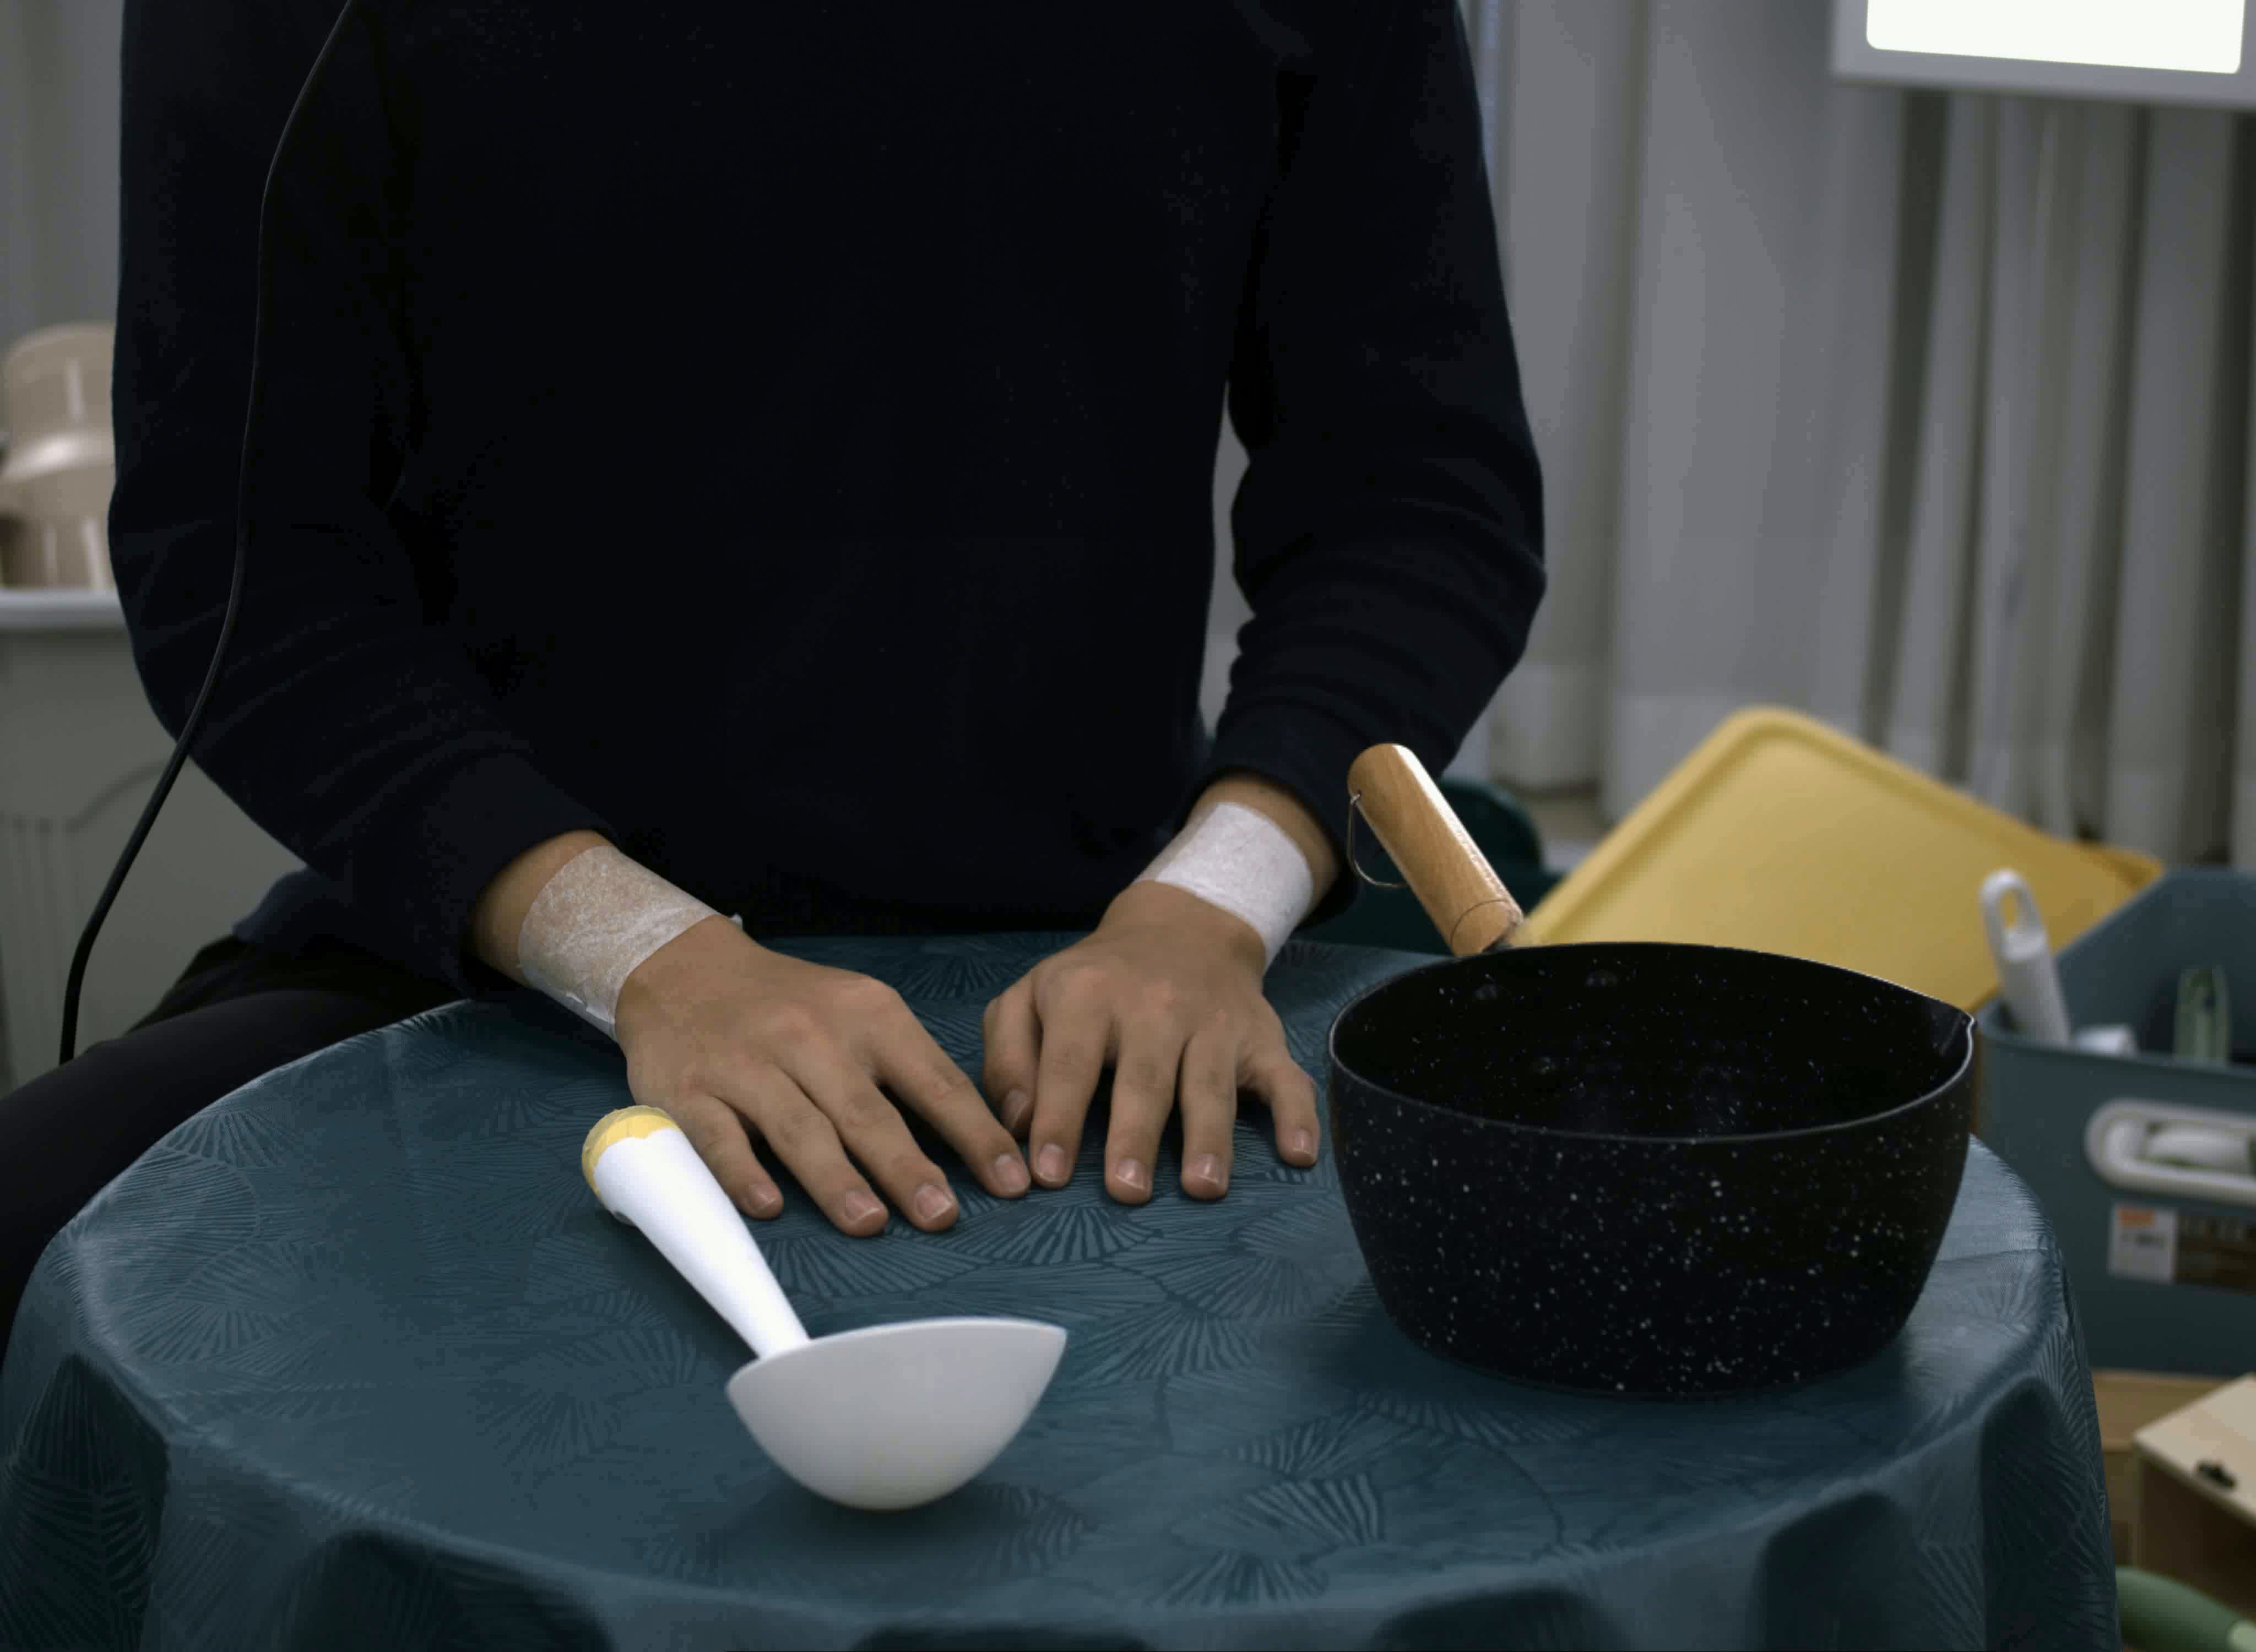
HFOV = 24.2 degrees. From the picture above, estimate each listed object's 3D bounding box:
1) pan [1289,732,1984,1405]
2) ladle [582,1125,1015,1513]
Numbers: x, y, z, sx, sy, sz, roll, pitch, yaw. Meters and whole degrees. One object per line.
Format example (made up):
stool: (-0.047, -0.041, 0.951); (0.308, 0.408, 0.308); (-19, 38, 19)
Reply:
pan: (0.127, 0.067, 1.585); (0.208, 0.109, 0.339); (-6, 18, -16)
ladle: (-0.107, 0.122, 1.465); (0.090, 0.070, 0.290); (-11, 17, -16)
